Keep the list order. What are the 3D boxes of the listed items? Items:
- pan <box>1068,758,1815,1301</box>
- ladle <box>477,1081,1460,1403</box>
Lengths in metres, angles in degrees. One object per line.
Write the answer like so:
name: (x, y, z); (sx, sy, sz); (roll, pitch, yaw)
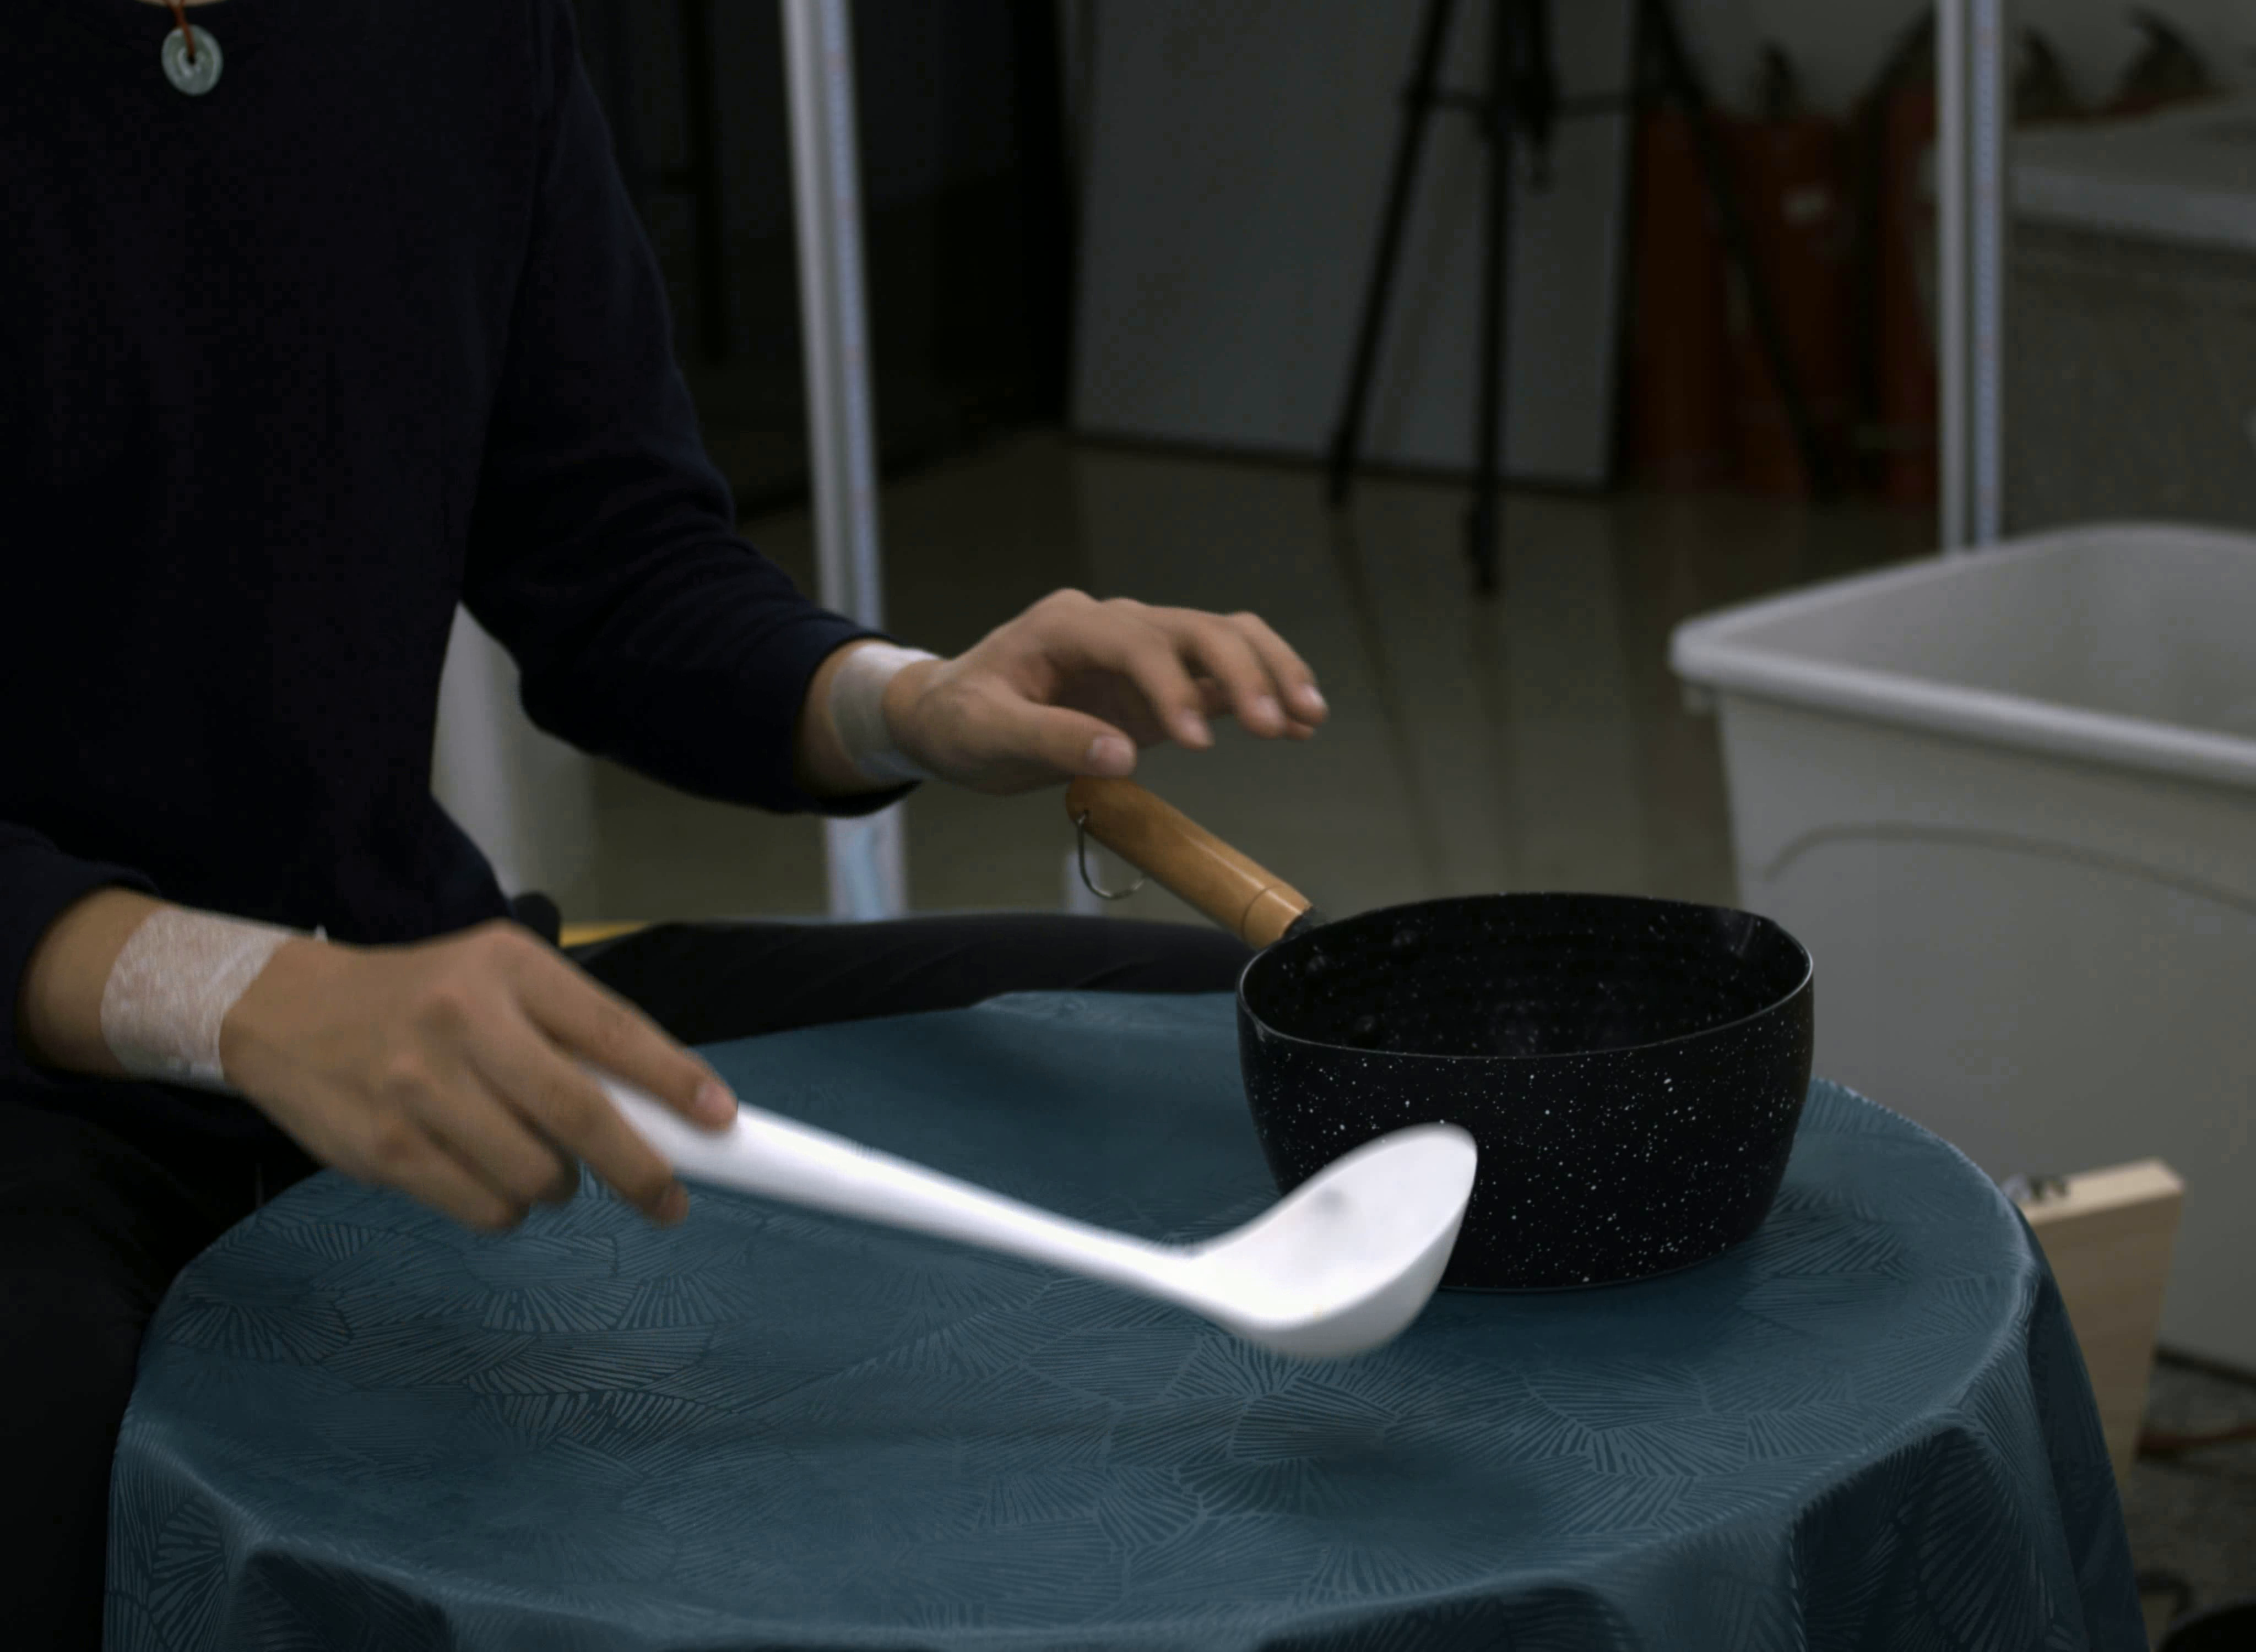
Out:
pan: (0.081, 0.060, 1.767); (0.203, 0.109, 0.346); (-14, 18, -32)
ladle: (-0.049, 0.106, 1.541); (0.292, 0.070, 0.090); (13, 39, 14)
